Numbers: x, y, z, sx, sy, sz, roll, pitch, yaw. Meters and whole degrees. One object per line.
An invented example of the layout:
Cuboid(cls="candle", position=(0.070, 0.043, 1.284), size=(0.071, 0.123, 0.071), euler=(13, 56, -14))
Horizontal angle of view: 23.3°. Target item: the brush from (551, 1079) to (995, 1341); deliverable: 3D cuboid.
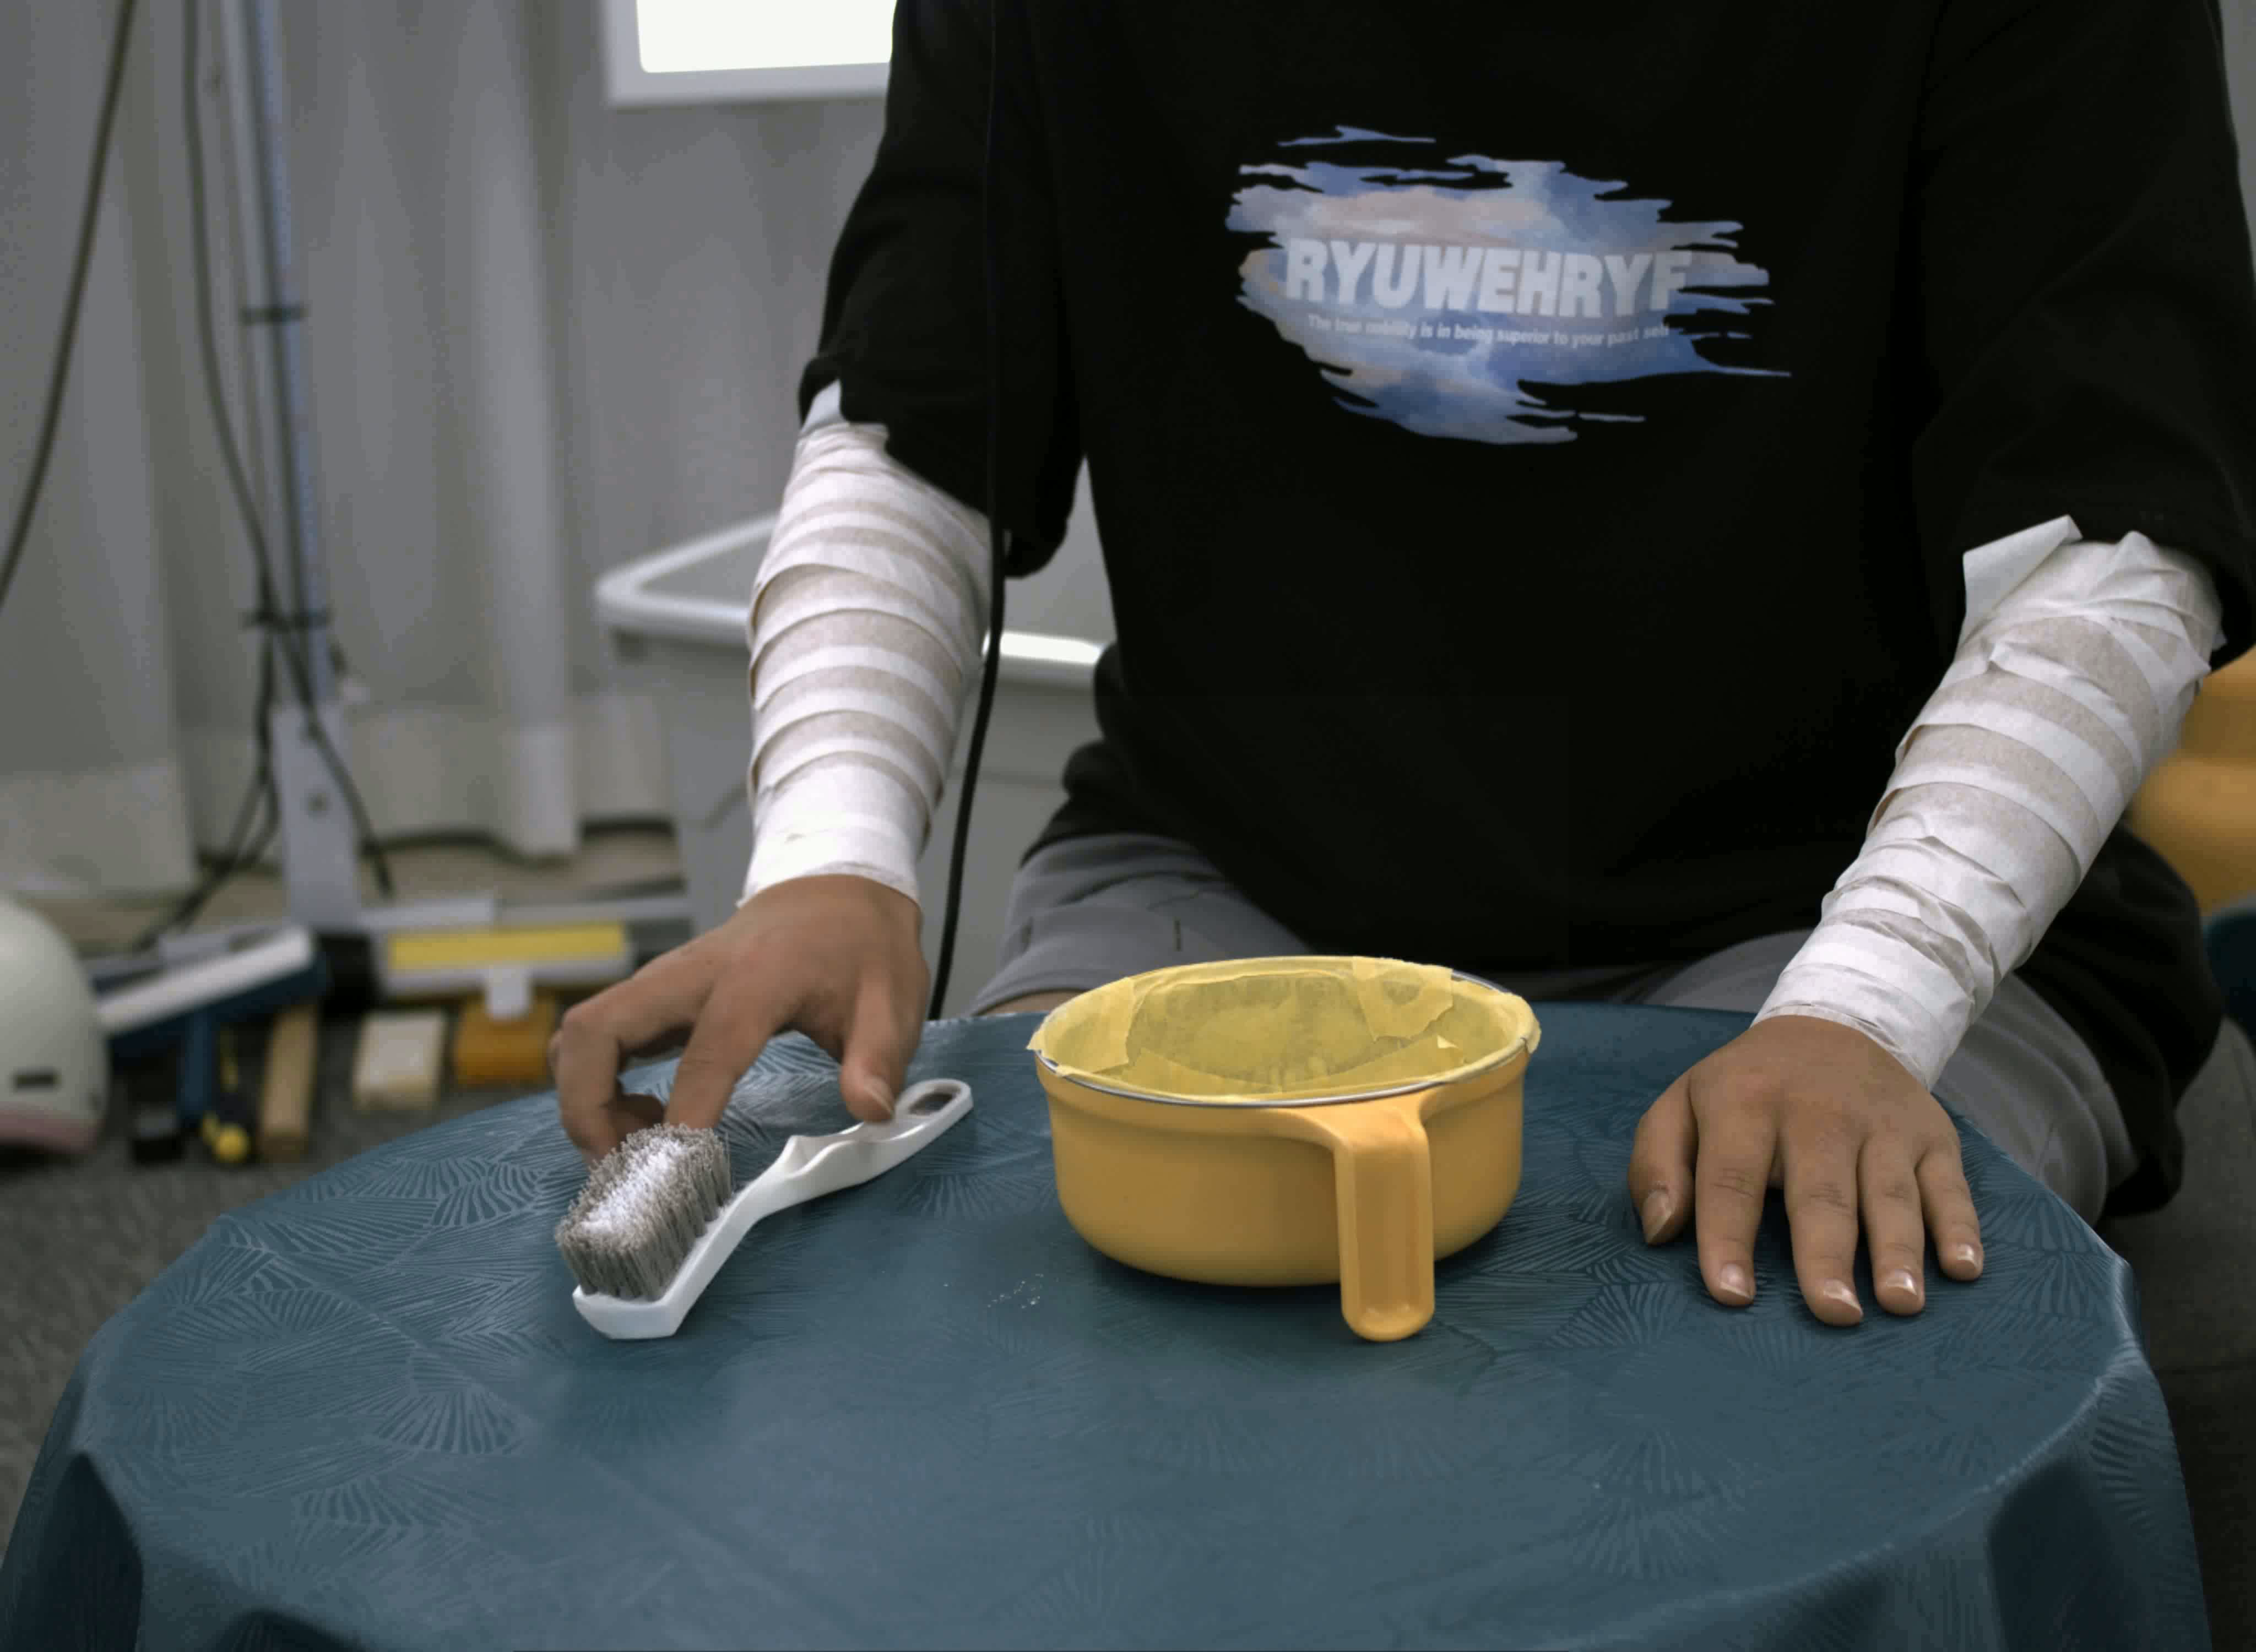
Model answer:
Cuboid(cls="brush", position=(-0.105, 0.099, 1.694), size=(0.034, 0.050, 0.244), euler=(2, 16, 26))

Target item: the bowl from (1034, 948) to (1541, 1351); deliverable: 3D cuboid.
Cuboid(cls="bowl", position=(0.050, 0.094, 1.646), size=(0.152, 0.074, 0.181), euler=(-2, 15, -18))
